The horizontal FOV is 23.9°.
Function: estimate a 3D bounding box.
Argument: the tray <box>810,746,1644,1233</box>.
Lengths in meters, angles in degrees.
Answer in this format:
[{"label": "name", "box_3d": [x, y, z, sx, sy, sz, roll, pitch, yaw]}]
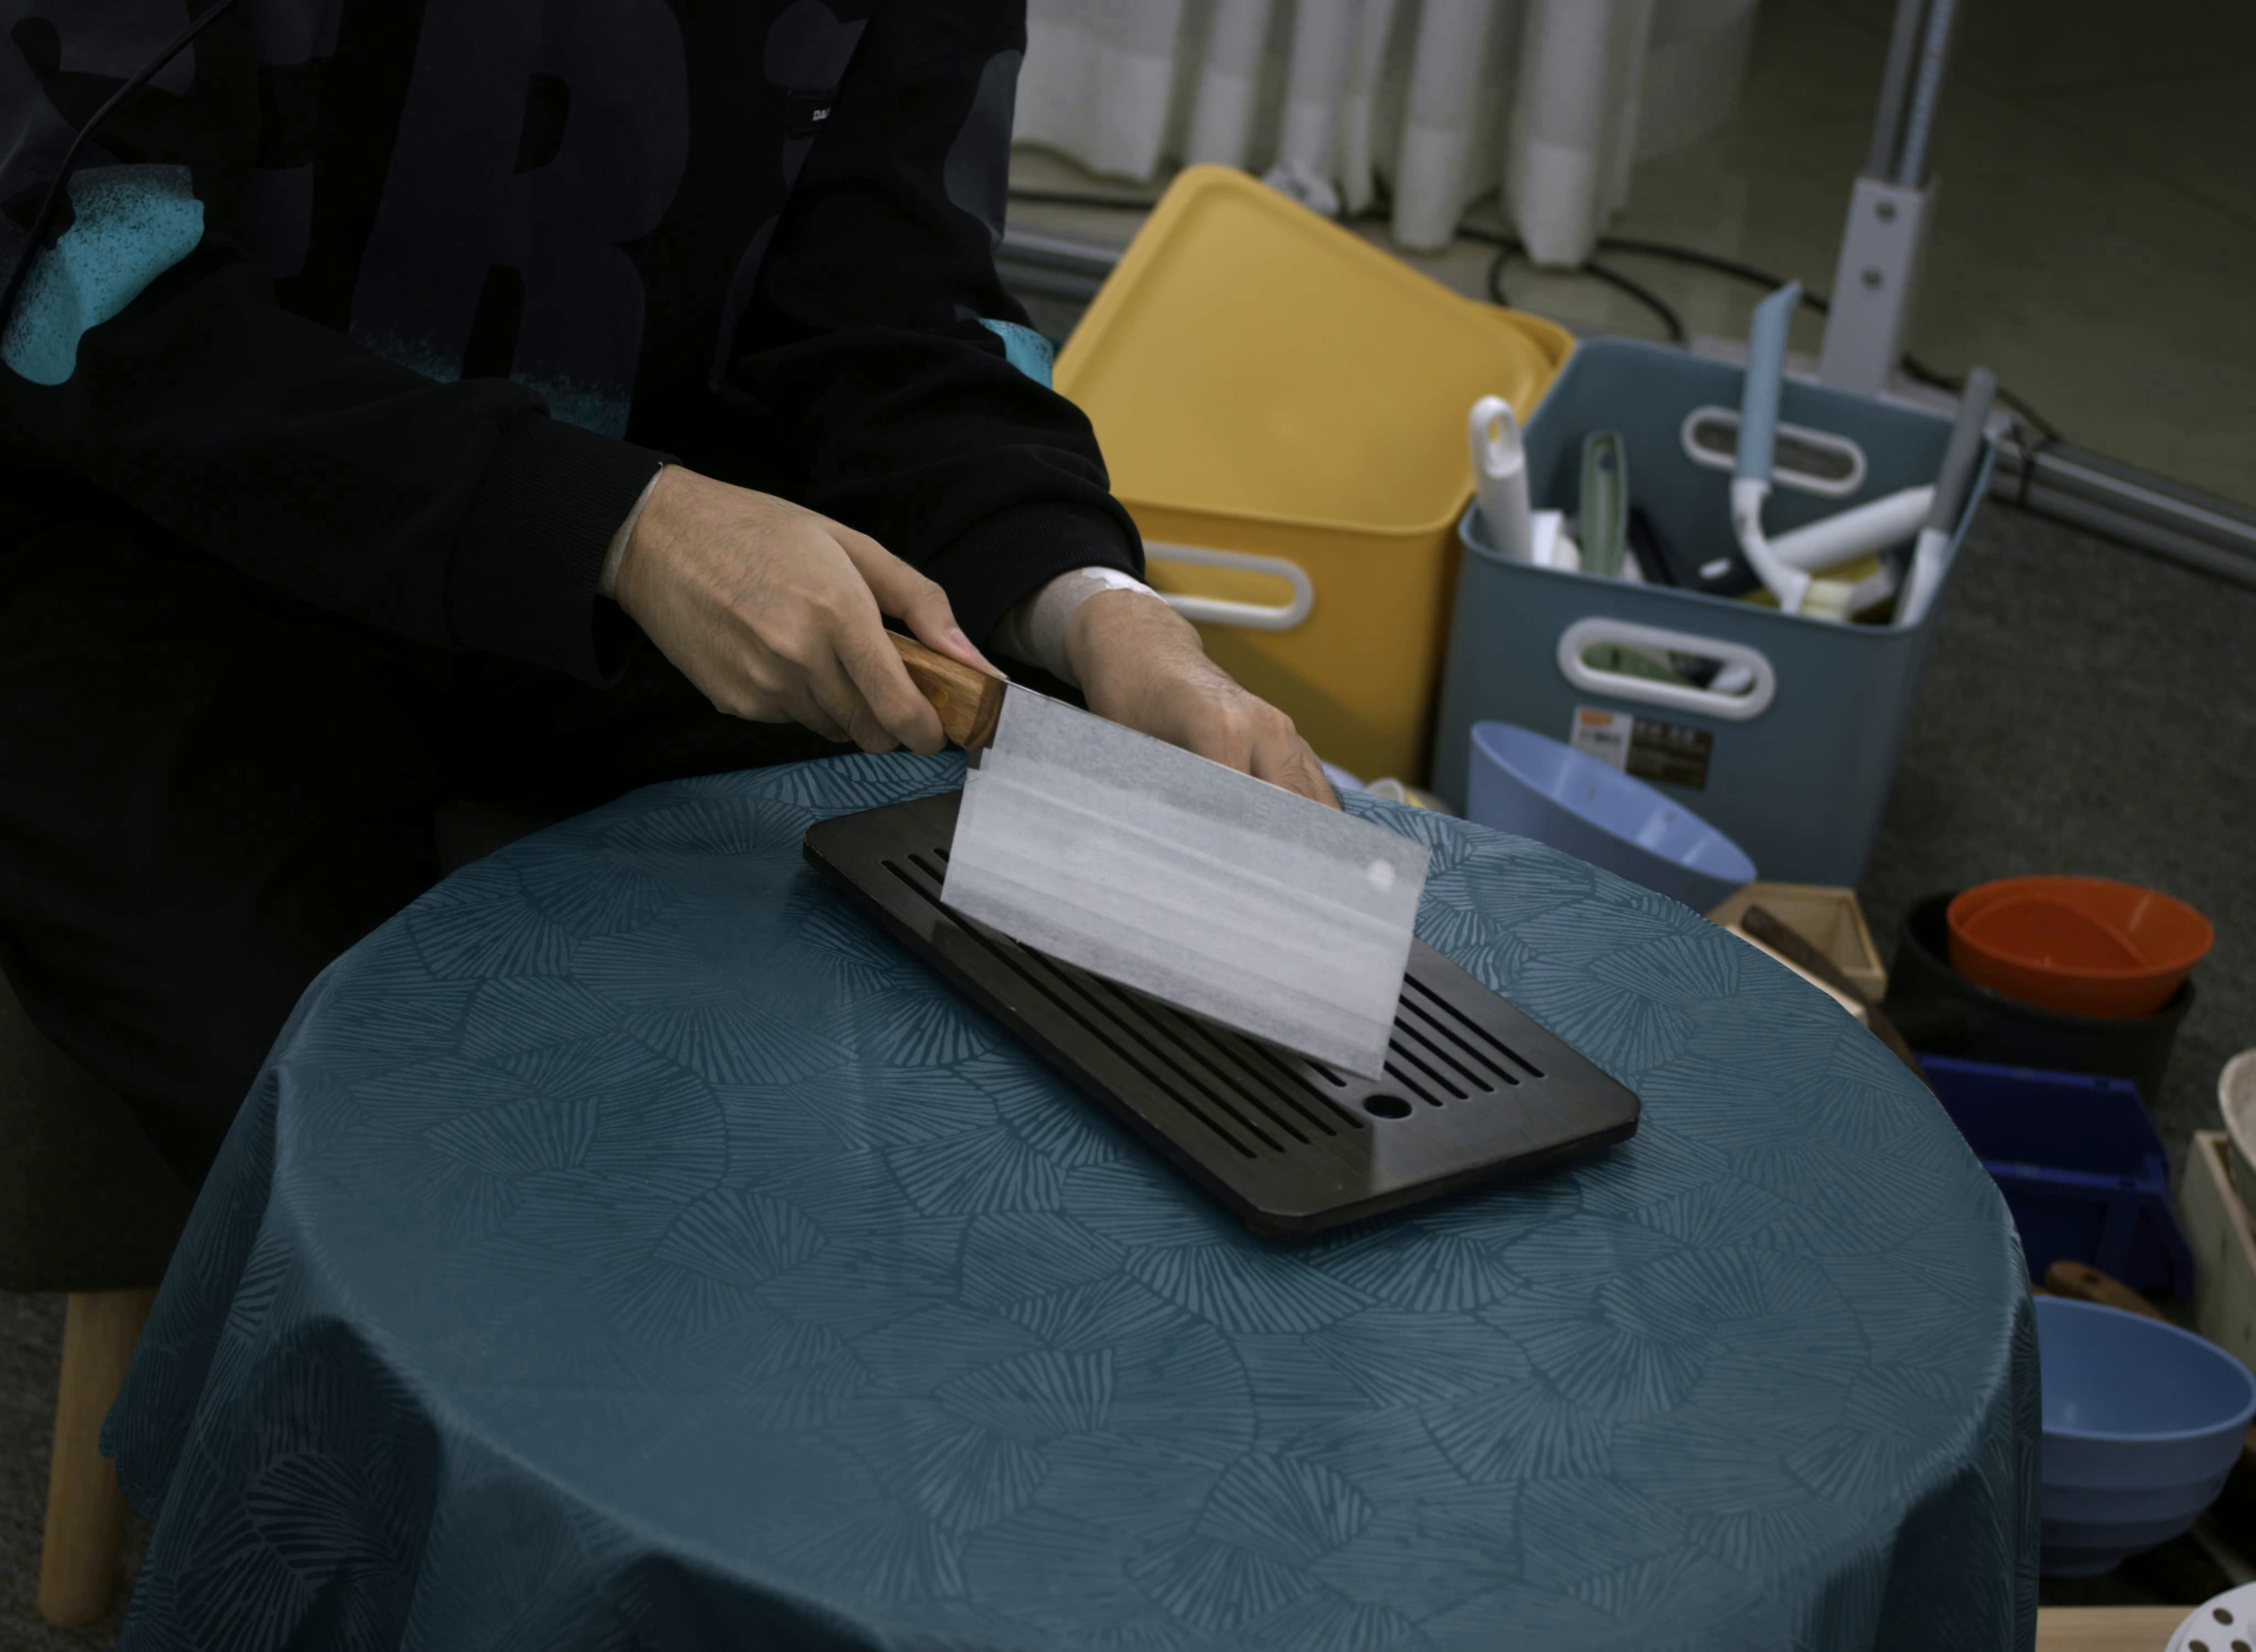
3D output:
[{"label": "tray", "box_3d": [0.031, 0.056, 1.921, 0.169, 0.018, 0.308, -13, 33, -33]}]

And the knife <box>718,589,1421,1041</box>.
[{"label": "knife", "box_3d": [-0.029, -0.002, 1.898, 0.307, 0.093, 0.021, 22, 20, 29]}]
